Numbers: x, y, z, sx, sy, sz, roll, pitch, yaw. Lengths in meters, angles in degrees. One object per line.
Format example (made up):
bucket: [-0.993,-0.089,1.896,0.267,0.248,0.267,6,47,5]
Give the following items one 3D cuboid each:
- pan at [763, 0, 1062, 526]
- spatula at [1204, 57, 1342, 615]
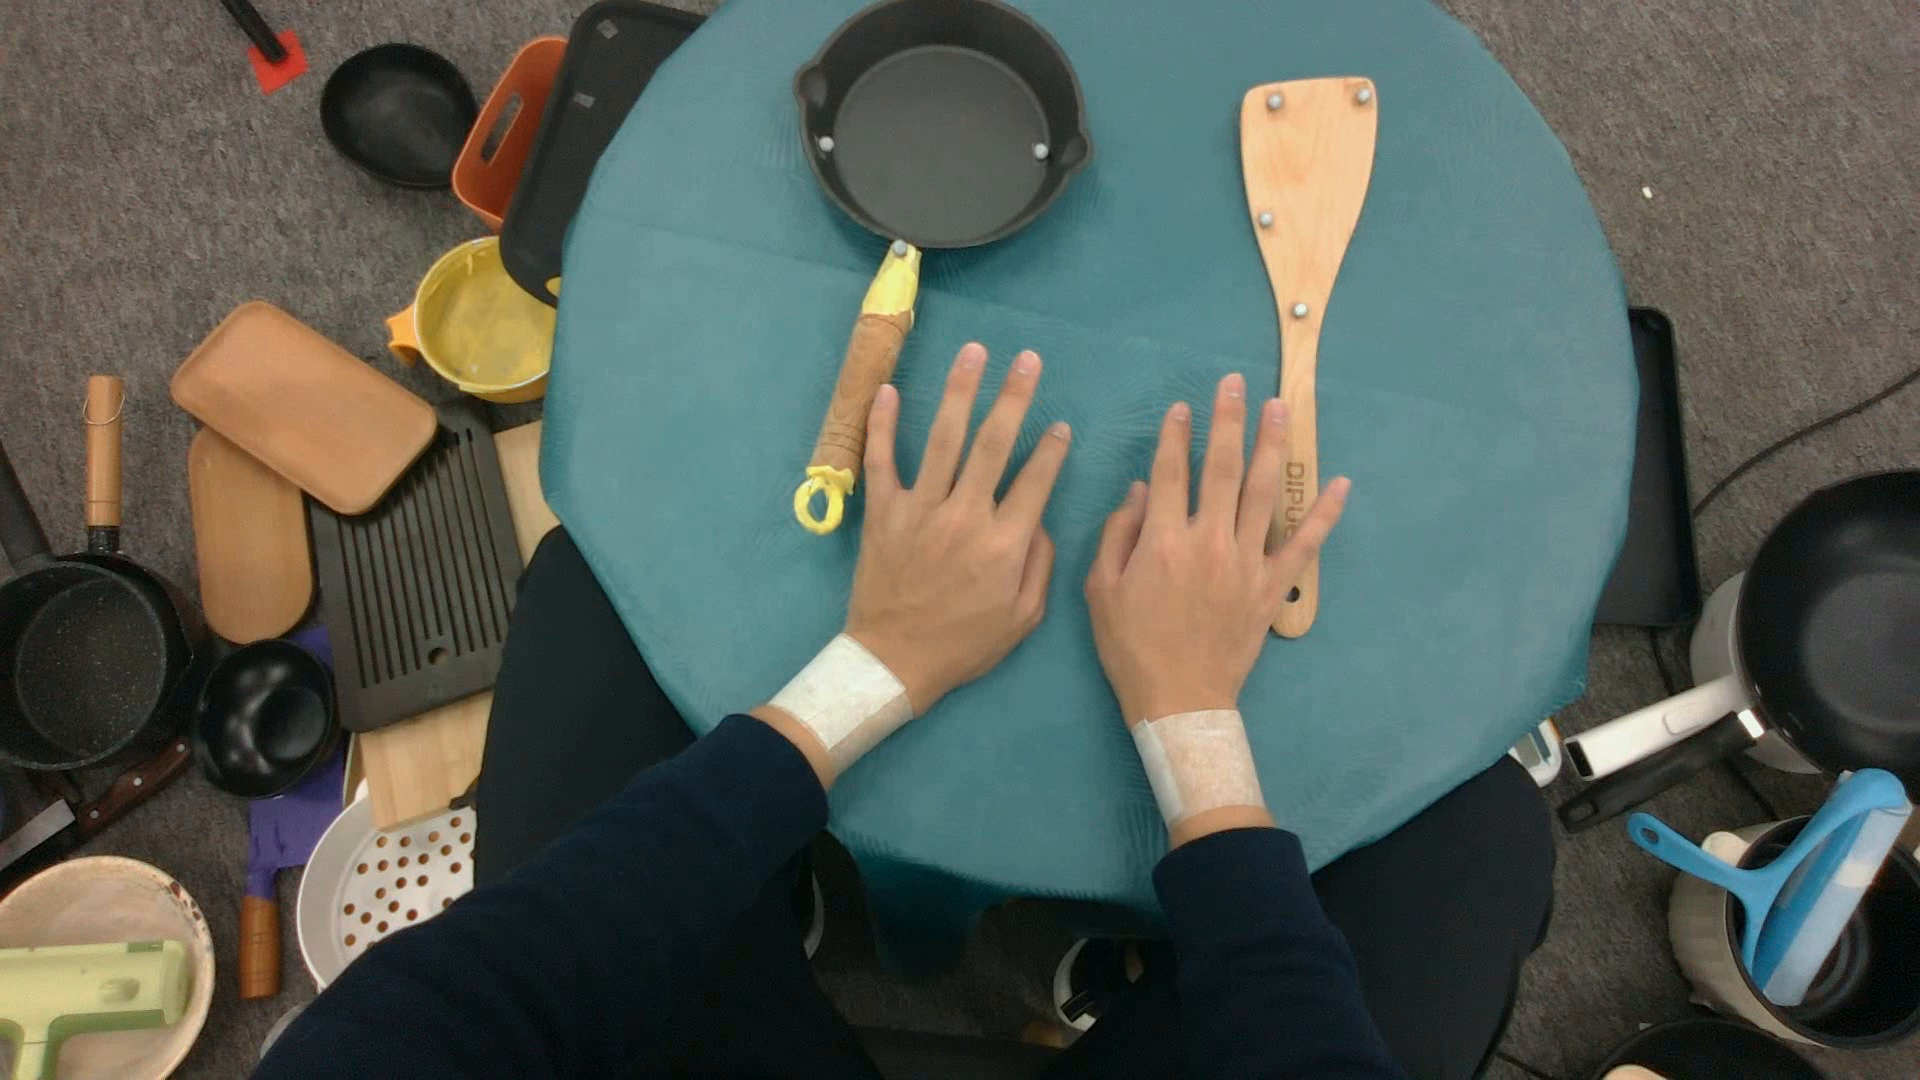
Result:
pan: [-0.048,-0.157,0.741,0.169,0.049,0.325,15,74,1]
spatula: [0.173,-0.120,0.760,0.080,0.016,0.328,3,75,-1]
